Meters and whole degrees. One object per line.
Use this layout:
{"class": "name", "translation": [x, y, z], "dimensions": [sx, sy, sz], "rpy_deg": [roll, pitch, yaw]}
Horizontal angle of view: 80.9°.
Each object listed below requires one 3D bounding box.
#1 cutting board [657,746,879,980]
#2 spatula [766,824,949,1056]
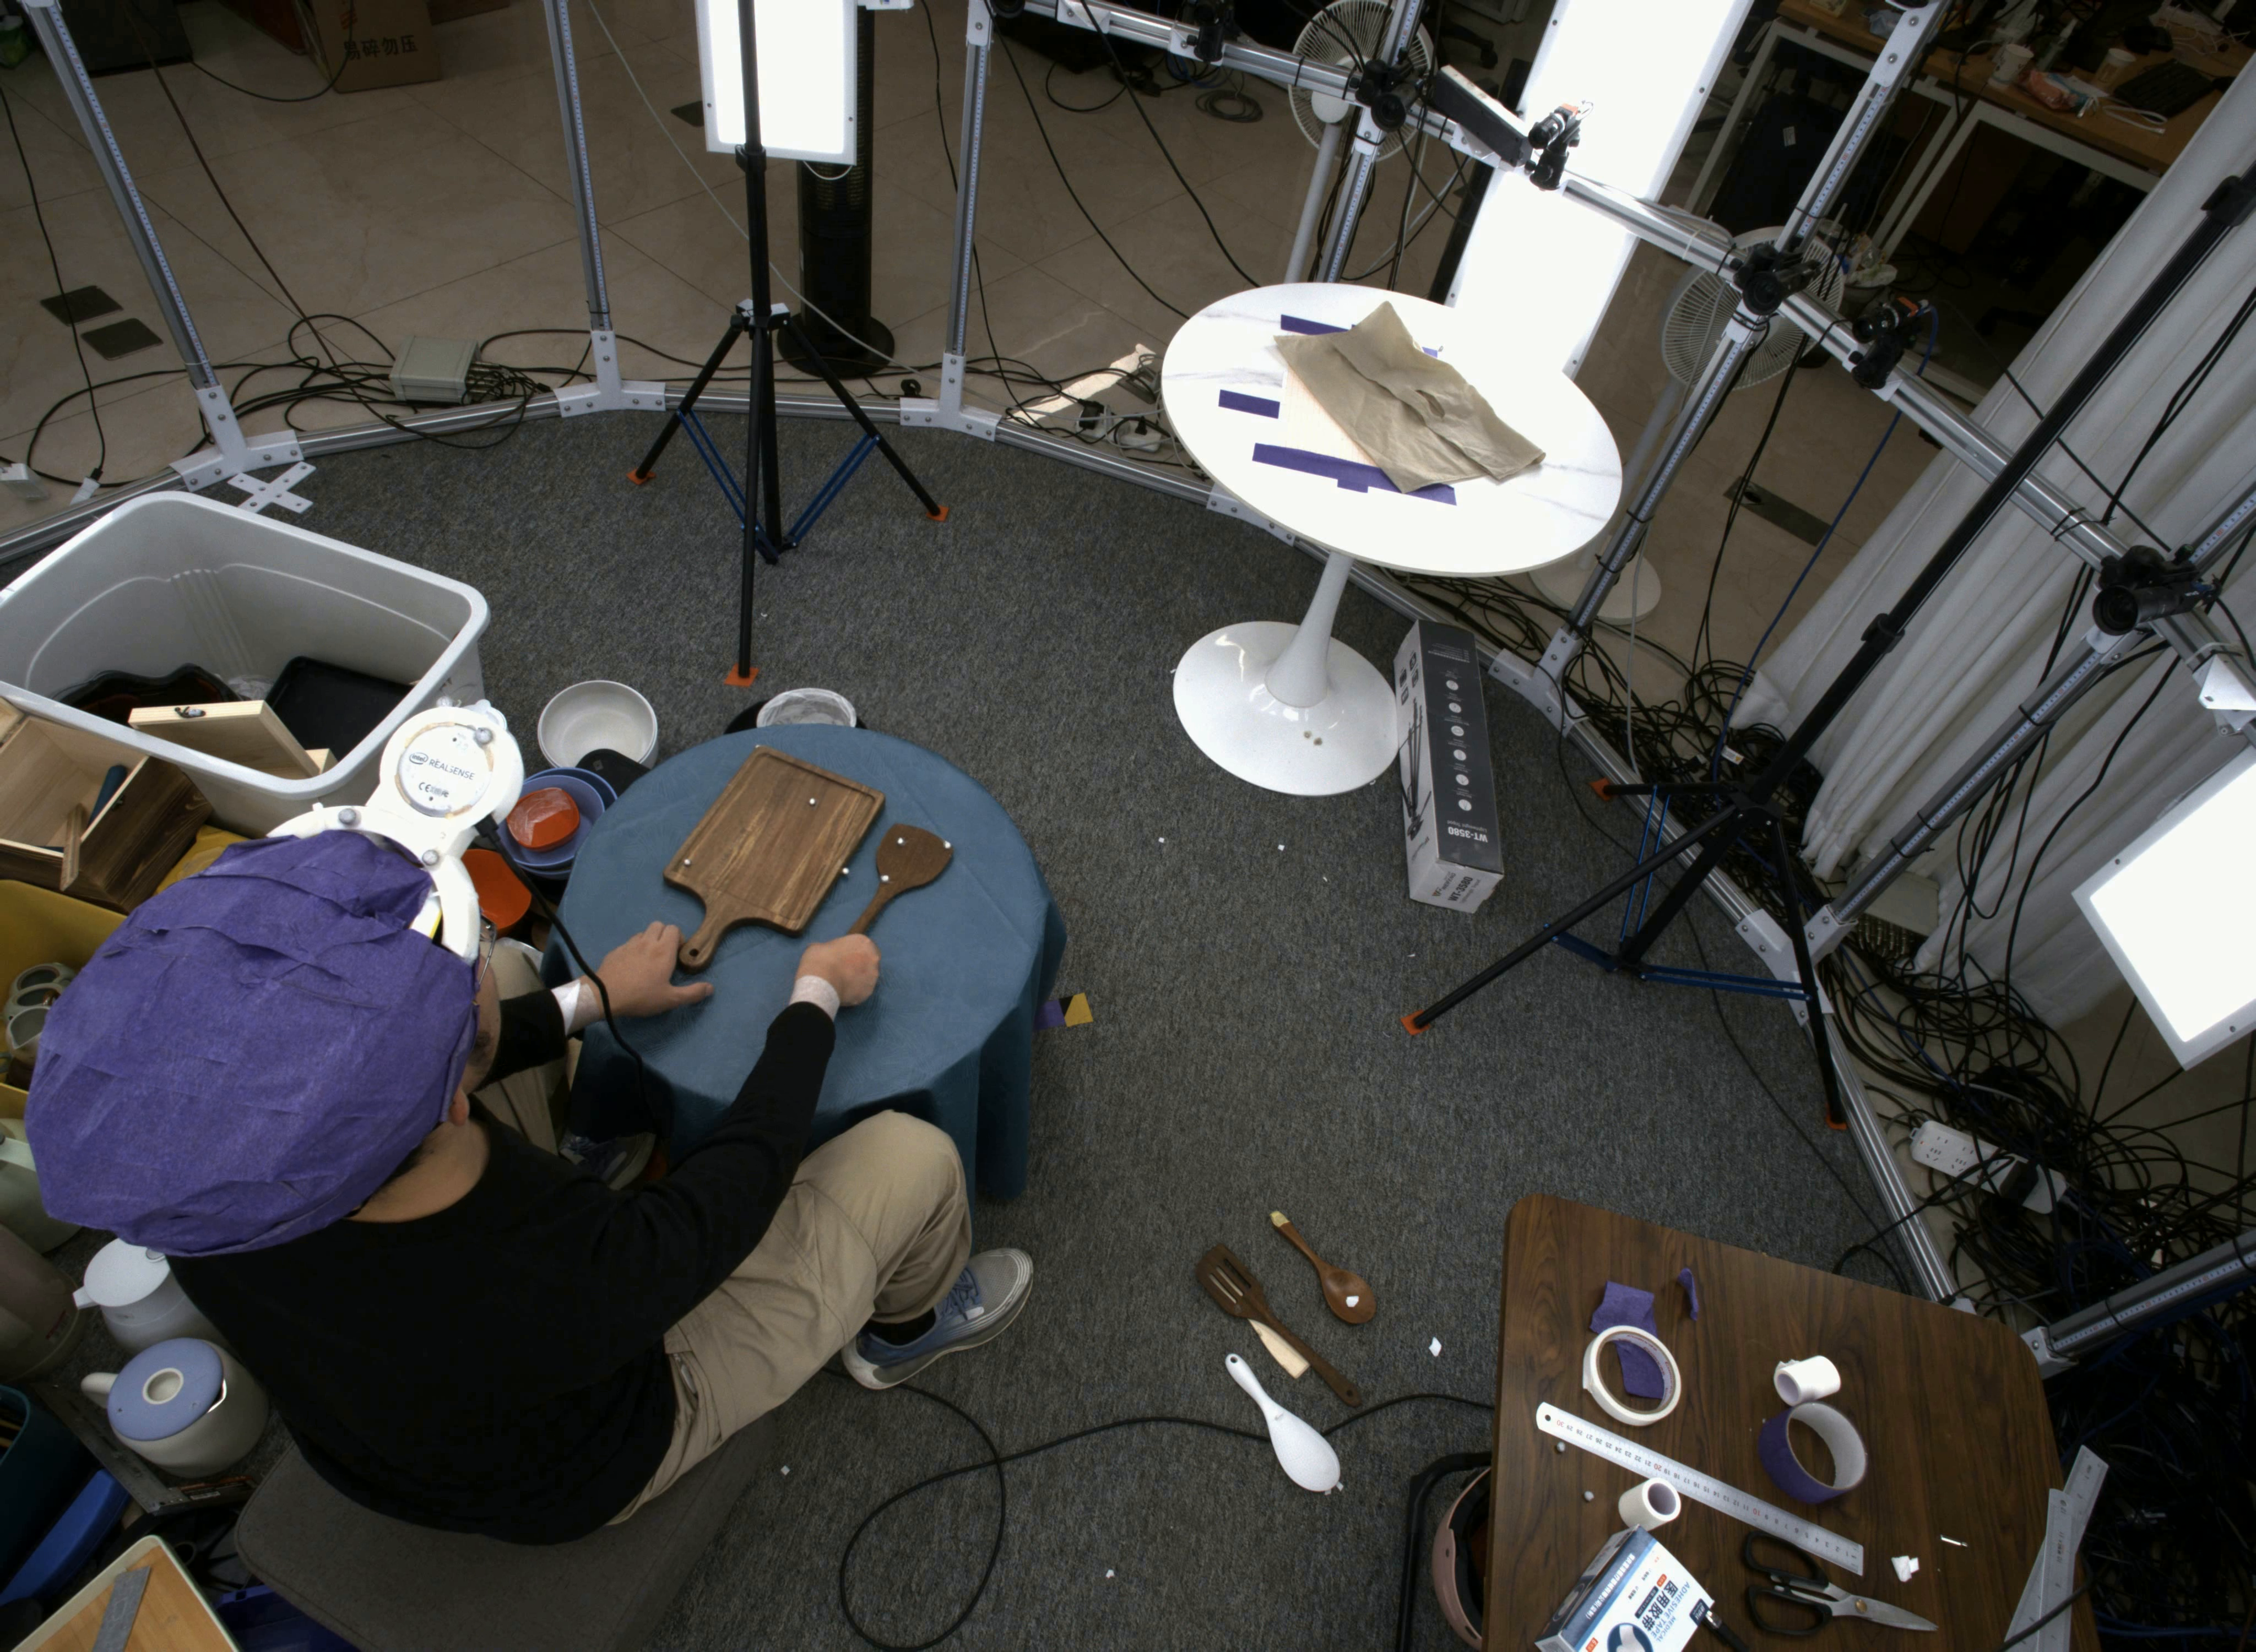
{"class": "cutting board", "translation": [-0.479, 0.049, 1.654], "dimensions": [0.199, 0.023, 0.349], "rpy_deg": [22, 51, 2]}
{"class": "spatula", "translation": [-0.343, 0.133, 1.621], "dimensions": [0.095, 0.016, 0.383], "rpy_deg": [24, 48, 5]}
